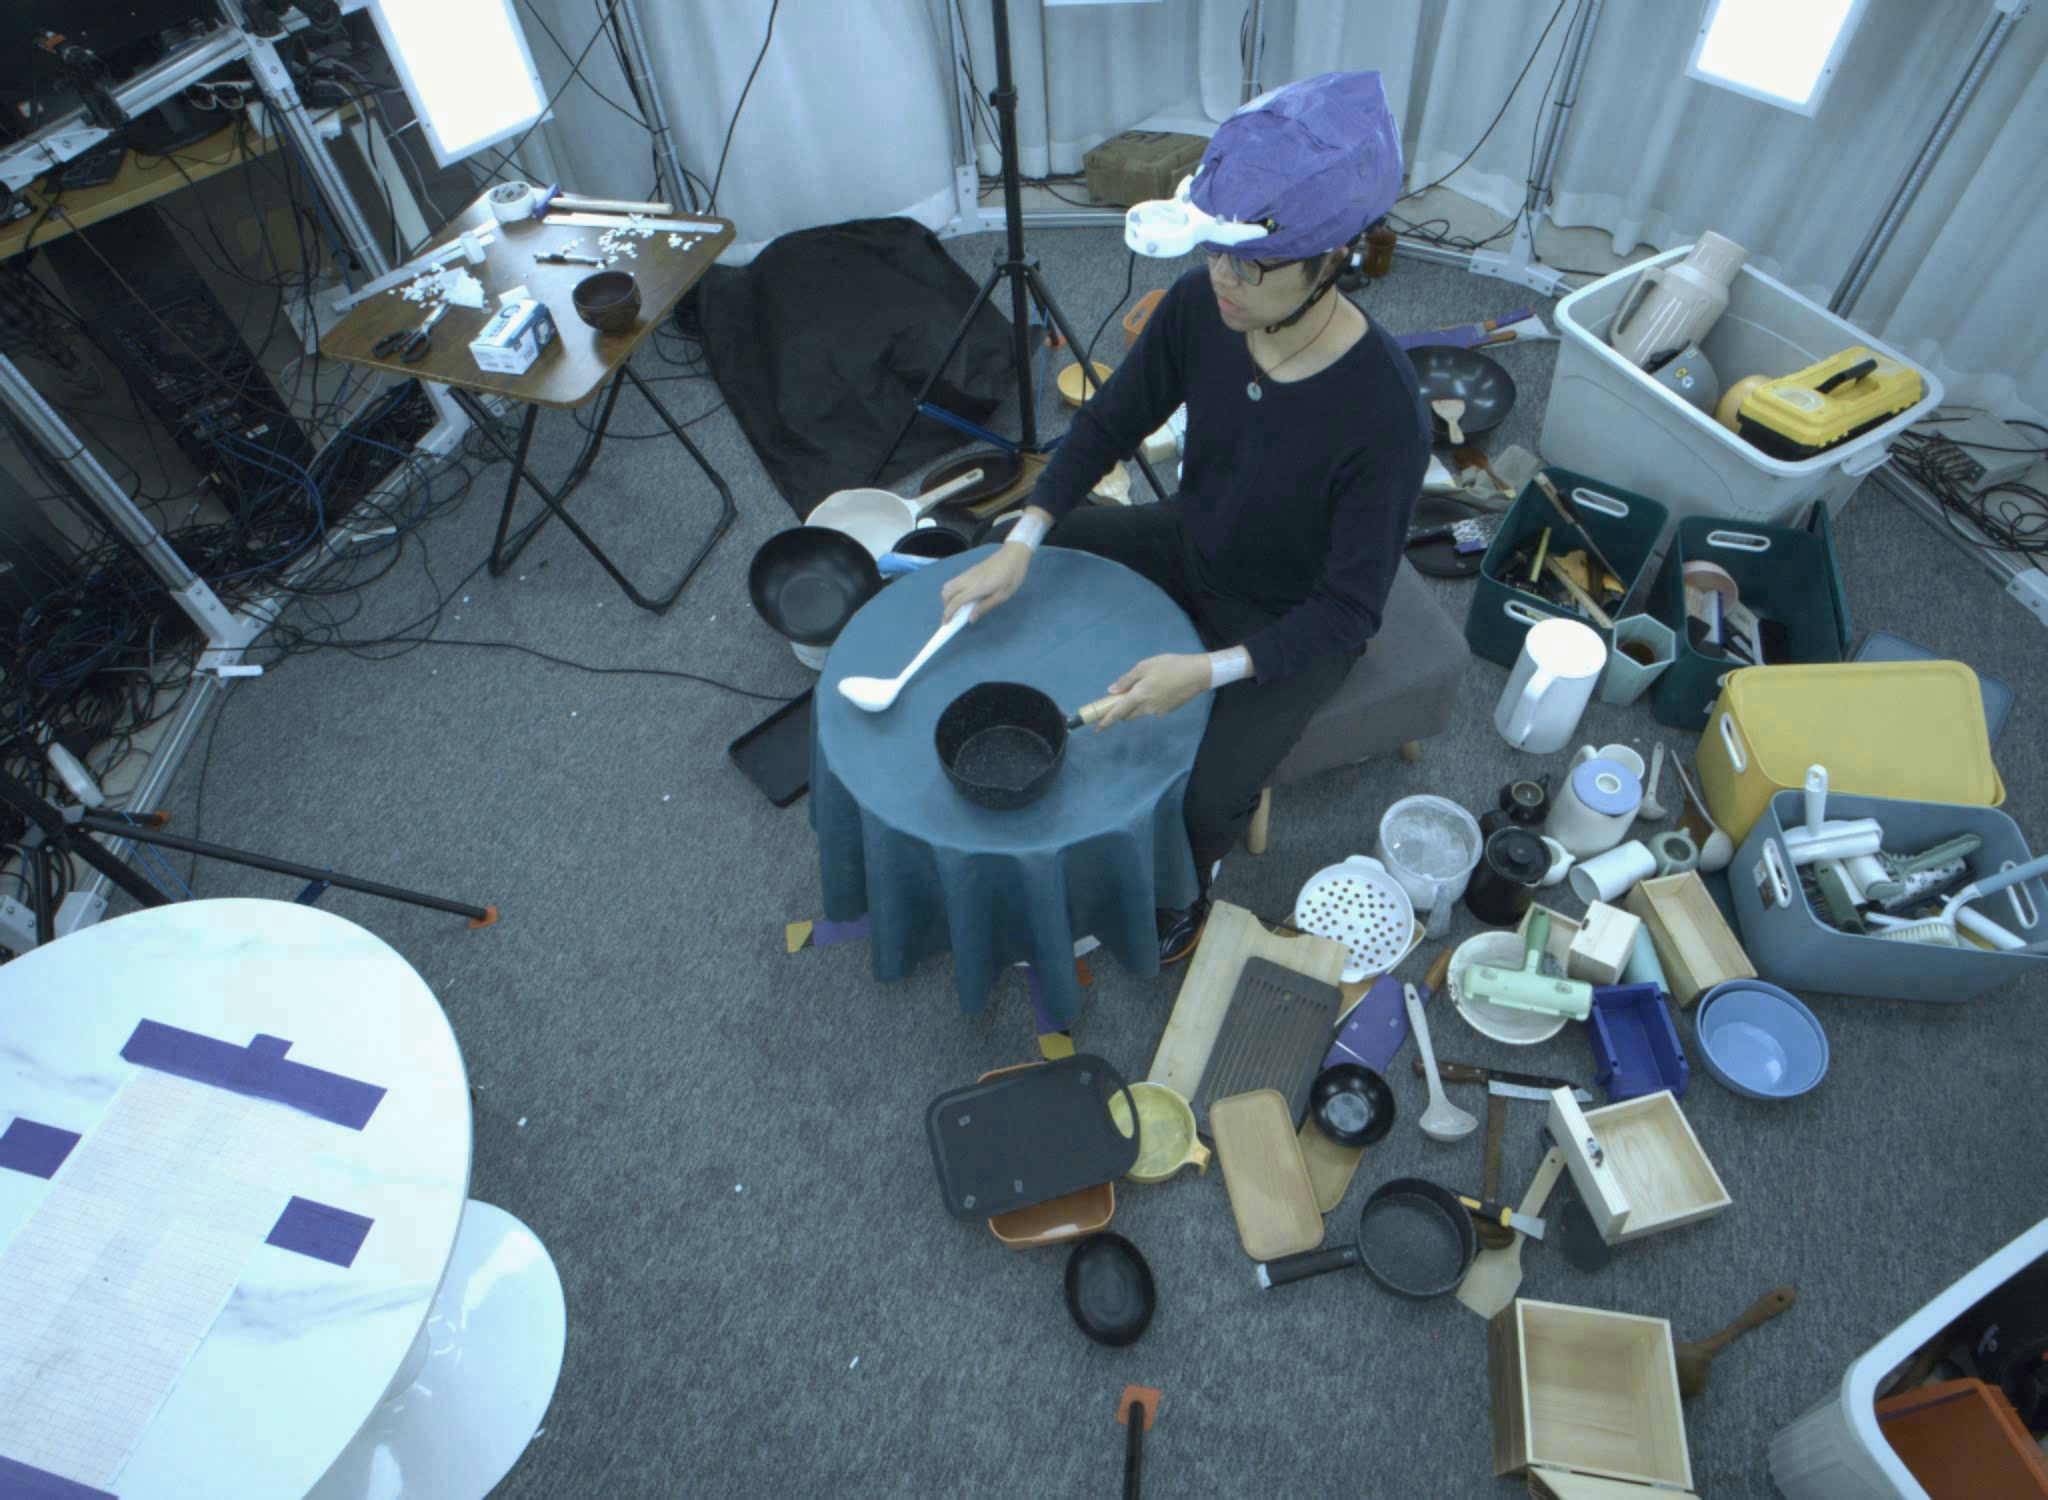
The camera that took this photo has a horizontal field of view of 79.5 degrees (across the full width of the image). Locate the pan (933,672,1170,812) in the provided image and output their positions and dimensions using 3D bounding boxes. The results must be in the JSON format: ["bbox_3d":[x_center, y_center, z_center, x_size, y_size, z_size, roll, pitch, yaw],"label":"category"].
[{"bbox_3d":[0.044,-0.028,1.739,0.344,0.109,0.204,-17,55,-8],"label":"pan"}]

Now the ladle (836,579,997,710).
[{"bbox_3d":[-0.158,-0.166,1.852,0.294,0.071,0.088,-46,43,-16],"label":"ladle"}]
